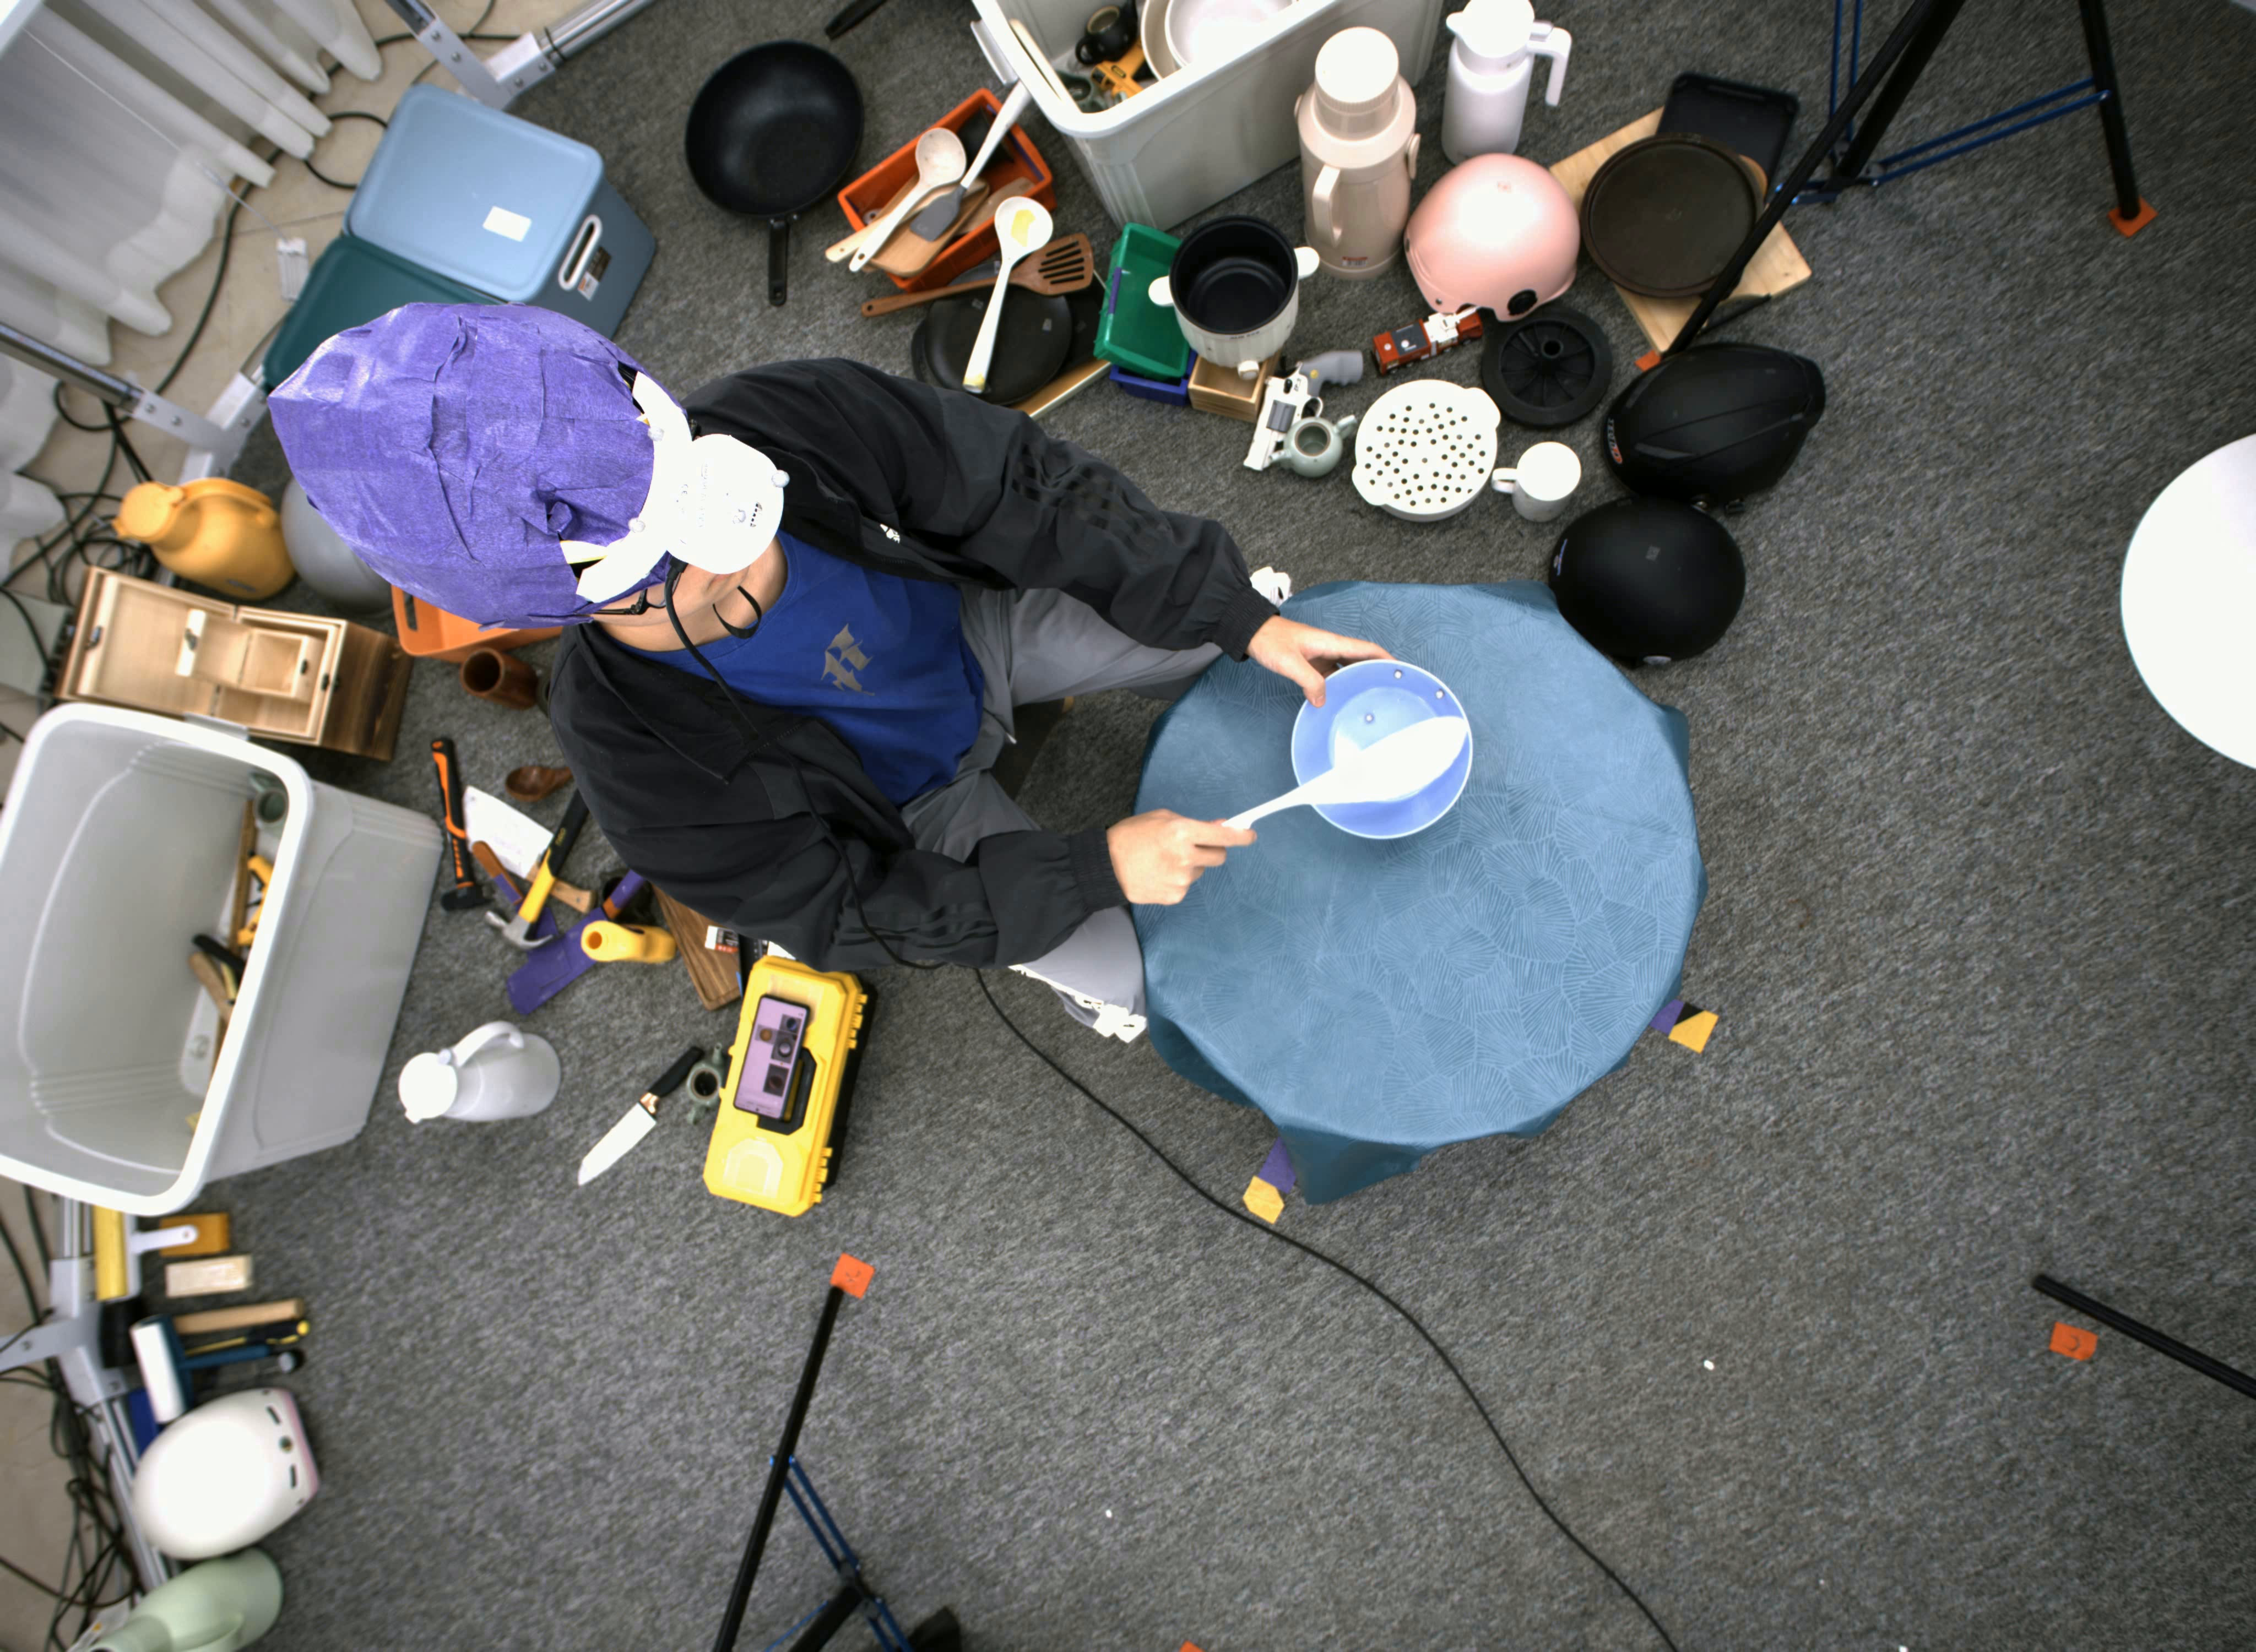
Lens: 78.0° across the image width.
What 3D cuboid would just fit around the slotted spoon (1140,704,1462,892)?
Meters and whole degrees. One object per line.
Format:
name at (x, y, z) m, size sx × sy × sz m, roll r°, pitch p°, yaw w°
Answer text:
slotted spoon at (0.162, -0.025, 1.317) m, size 0.351 × 0.136 × 0.050 m, roll -23°, pitch 81°, yaw 17°

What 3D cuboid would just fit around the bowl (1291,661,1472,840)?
bowl at (0.254, -0.078, 1.372) m, size 0.177 × 0.069 × 0.177 m, roll 3°, pitch 101°, yaw 15°
